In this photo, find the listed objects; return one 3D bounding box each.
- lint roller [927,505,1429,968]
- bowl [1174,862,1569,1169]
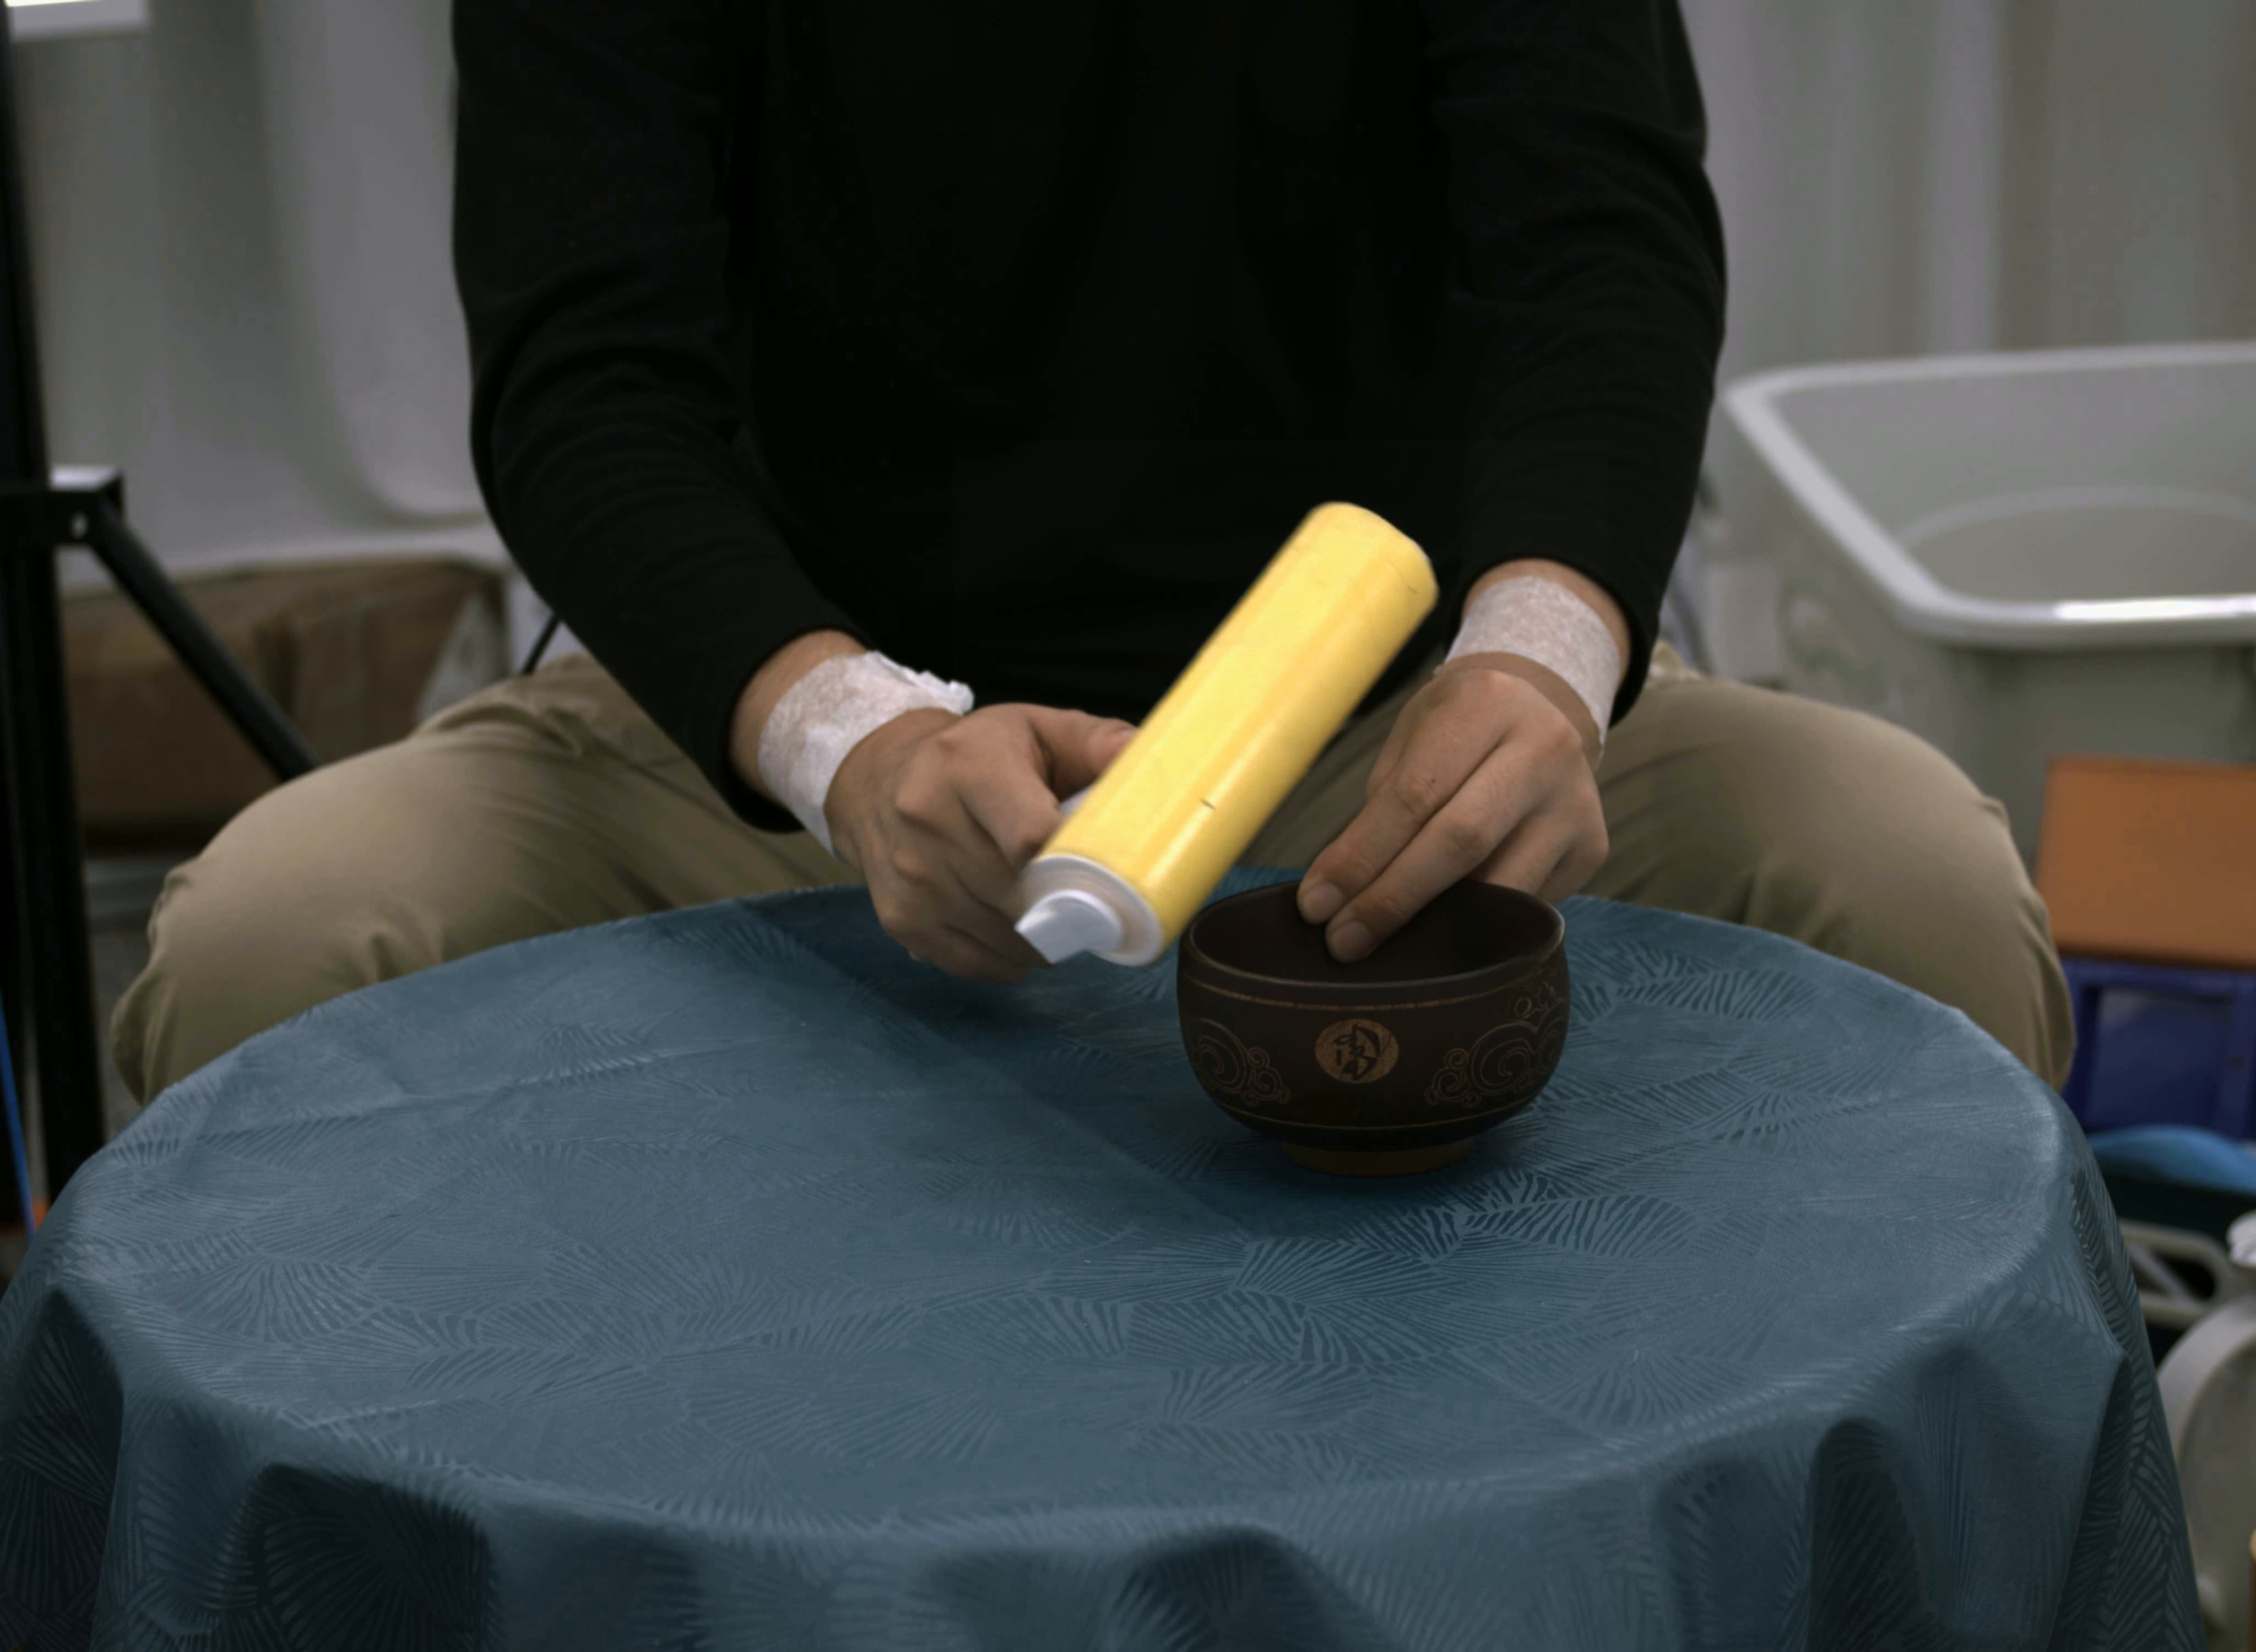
[{"bbox_3d":[-0.012,-0.016,1.659,0.195,0.051,0.173,-13,33,51],"label":"lint roller"},{"bbox_3d":[0.072,0.060,1.577,0.117,0.070,0.118,-2,16,-1],"label":"bowl"}]
